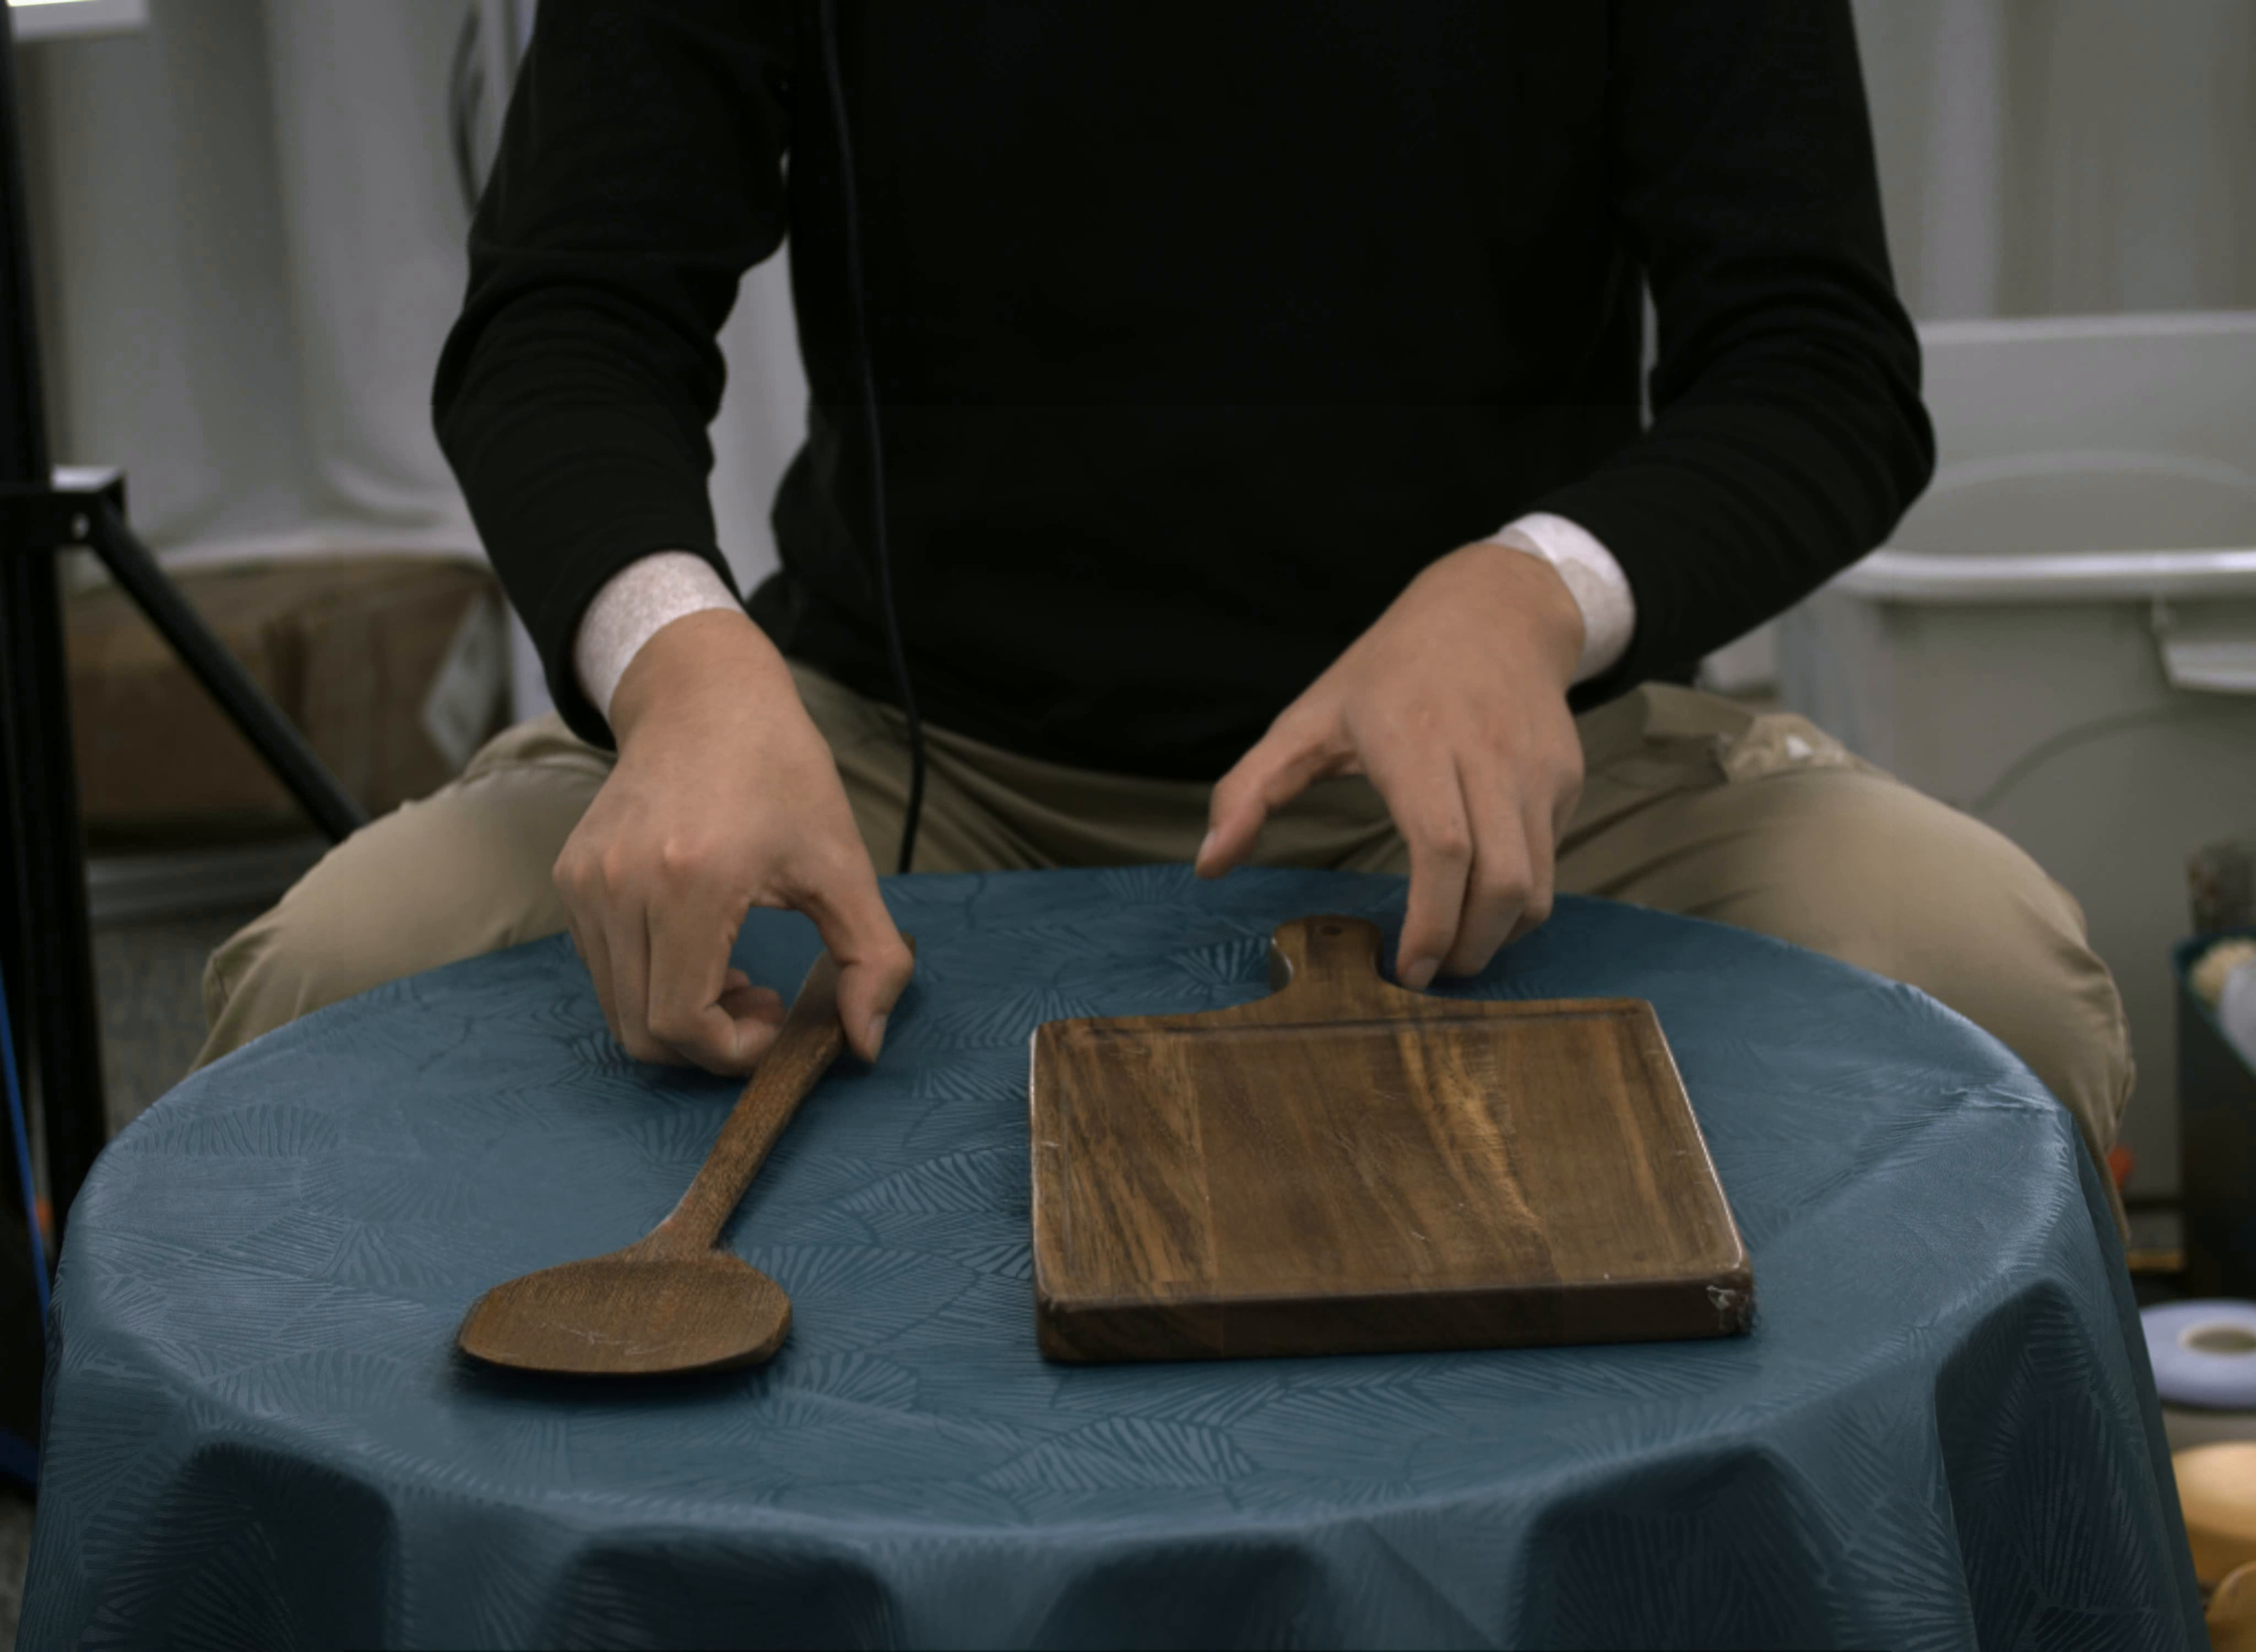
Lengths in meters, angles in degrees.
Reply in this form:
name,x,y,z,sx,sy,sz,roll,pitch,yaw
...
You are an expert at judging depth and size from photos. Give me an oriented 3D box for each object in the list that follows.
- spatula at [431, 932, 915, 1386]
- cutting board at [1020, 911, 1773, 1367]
name,x,y,z,sx,sy,sz,roll,pitch,yaw
spatula,-0.114,0.092,1.595,0.096,0.016,0.384,1,17,10
cutting board,0.069,0.086,1.586,0.200,0.023,0.354,-2,16,-1
